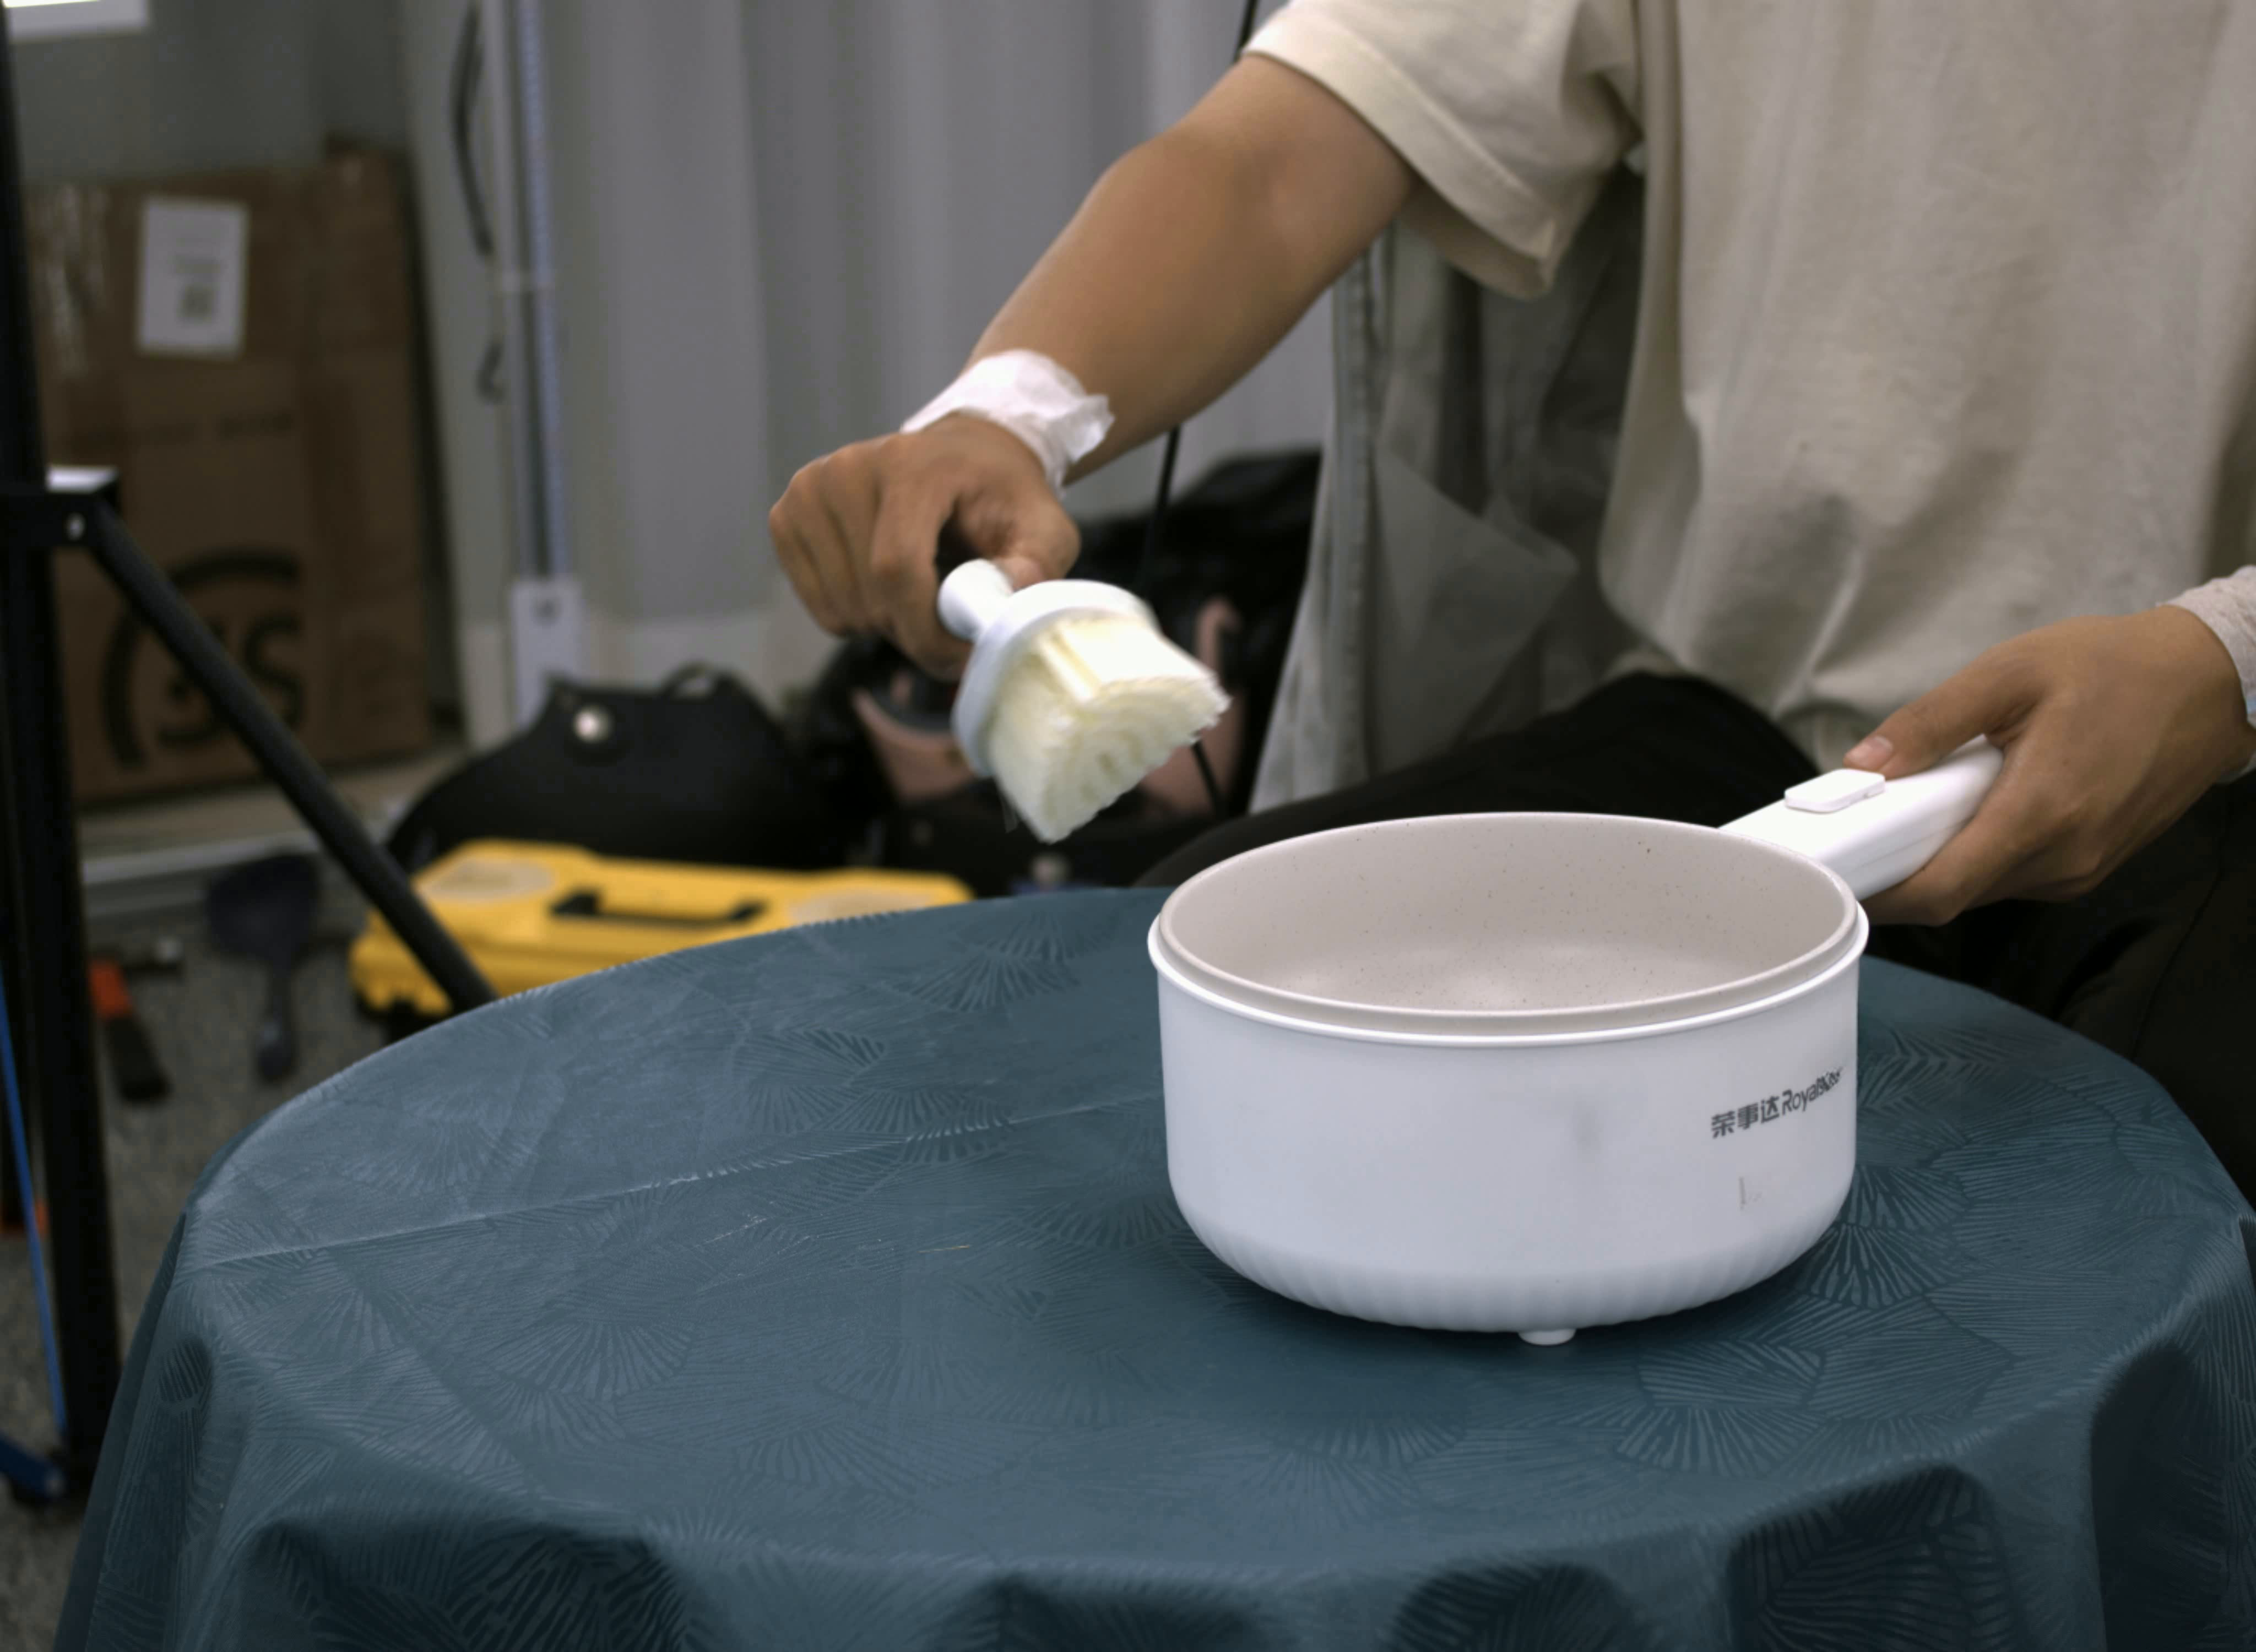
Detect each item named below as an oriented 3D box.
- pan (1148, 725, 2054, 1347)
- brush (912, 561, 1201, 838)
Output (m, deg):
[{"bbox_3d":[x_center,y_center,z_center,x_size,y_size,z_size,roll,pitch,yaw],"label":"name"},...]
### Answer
[{"bbox_3d":[0.157,0.054,1.538,0.206,0.102,0.347,11,20,41],"label":"pan"},{"bbox_3d":[-0.023,-0.039,1.639,0.082,0.085,0.326,2,1,-4],"label":"brush"}]
